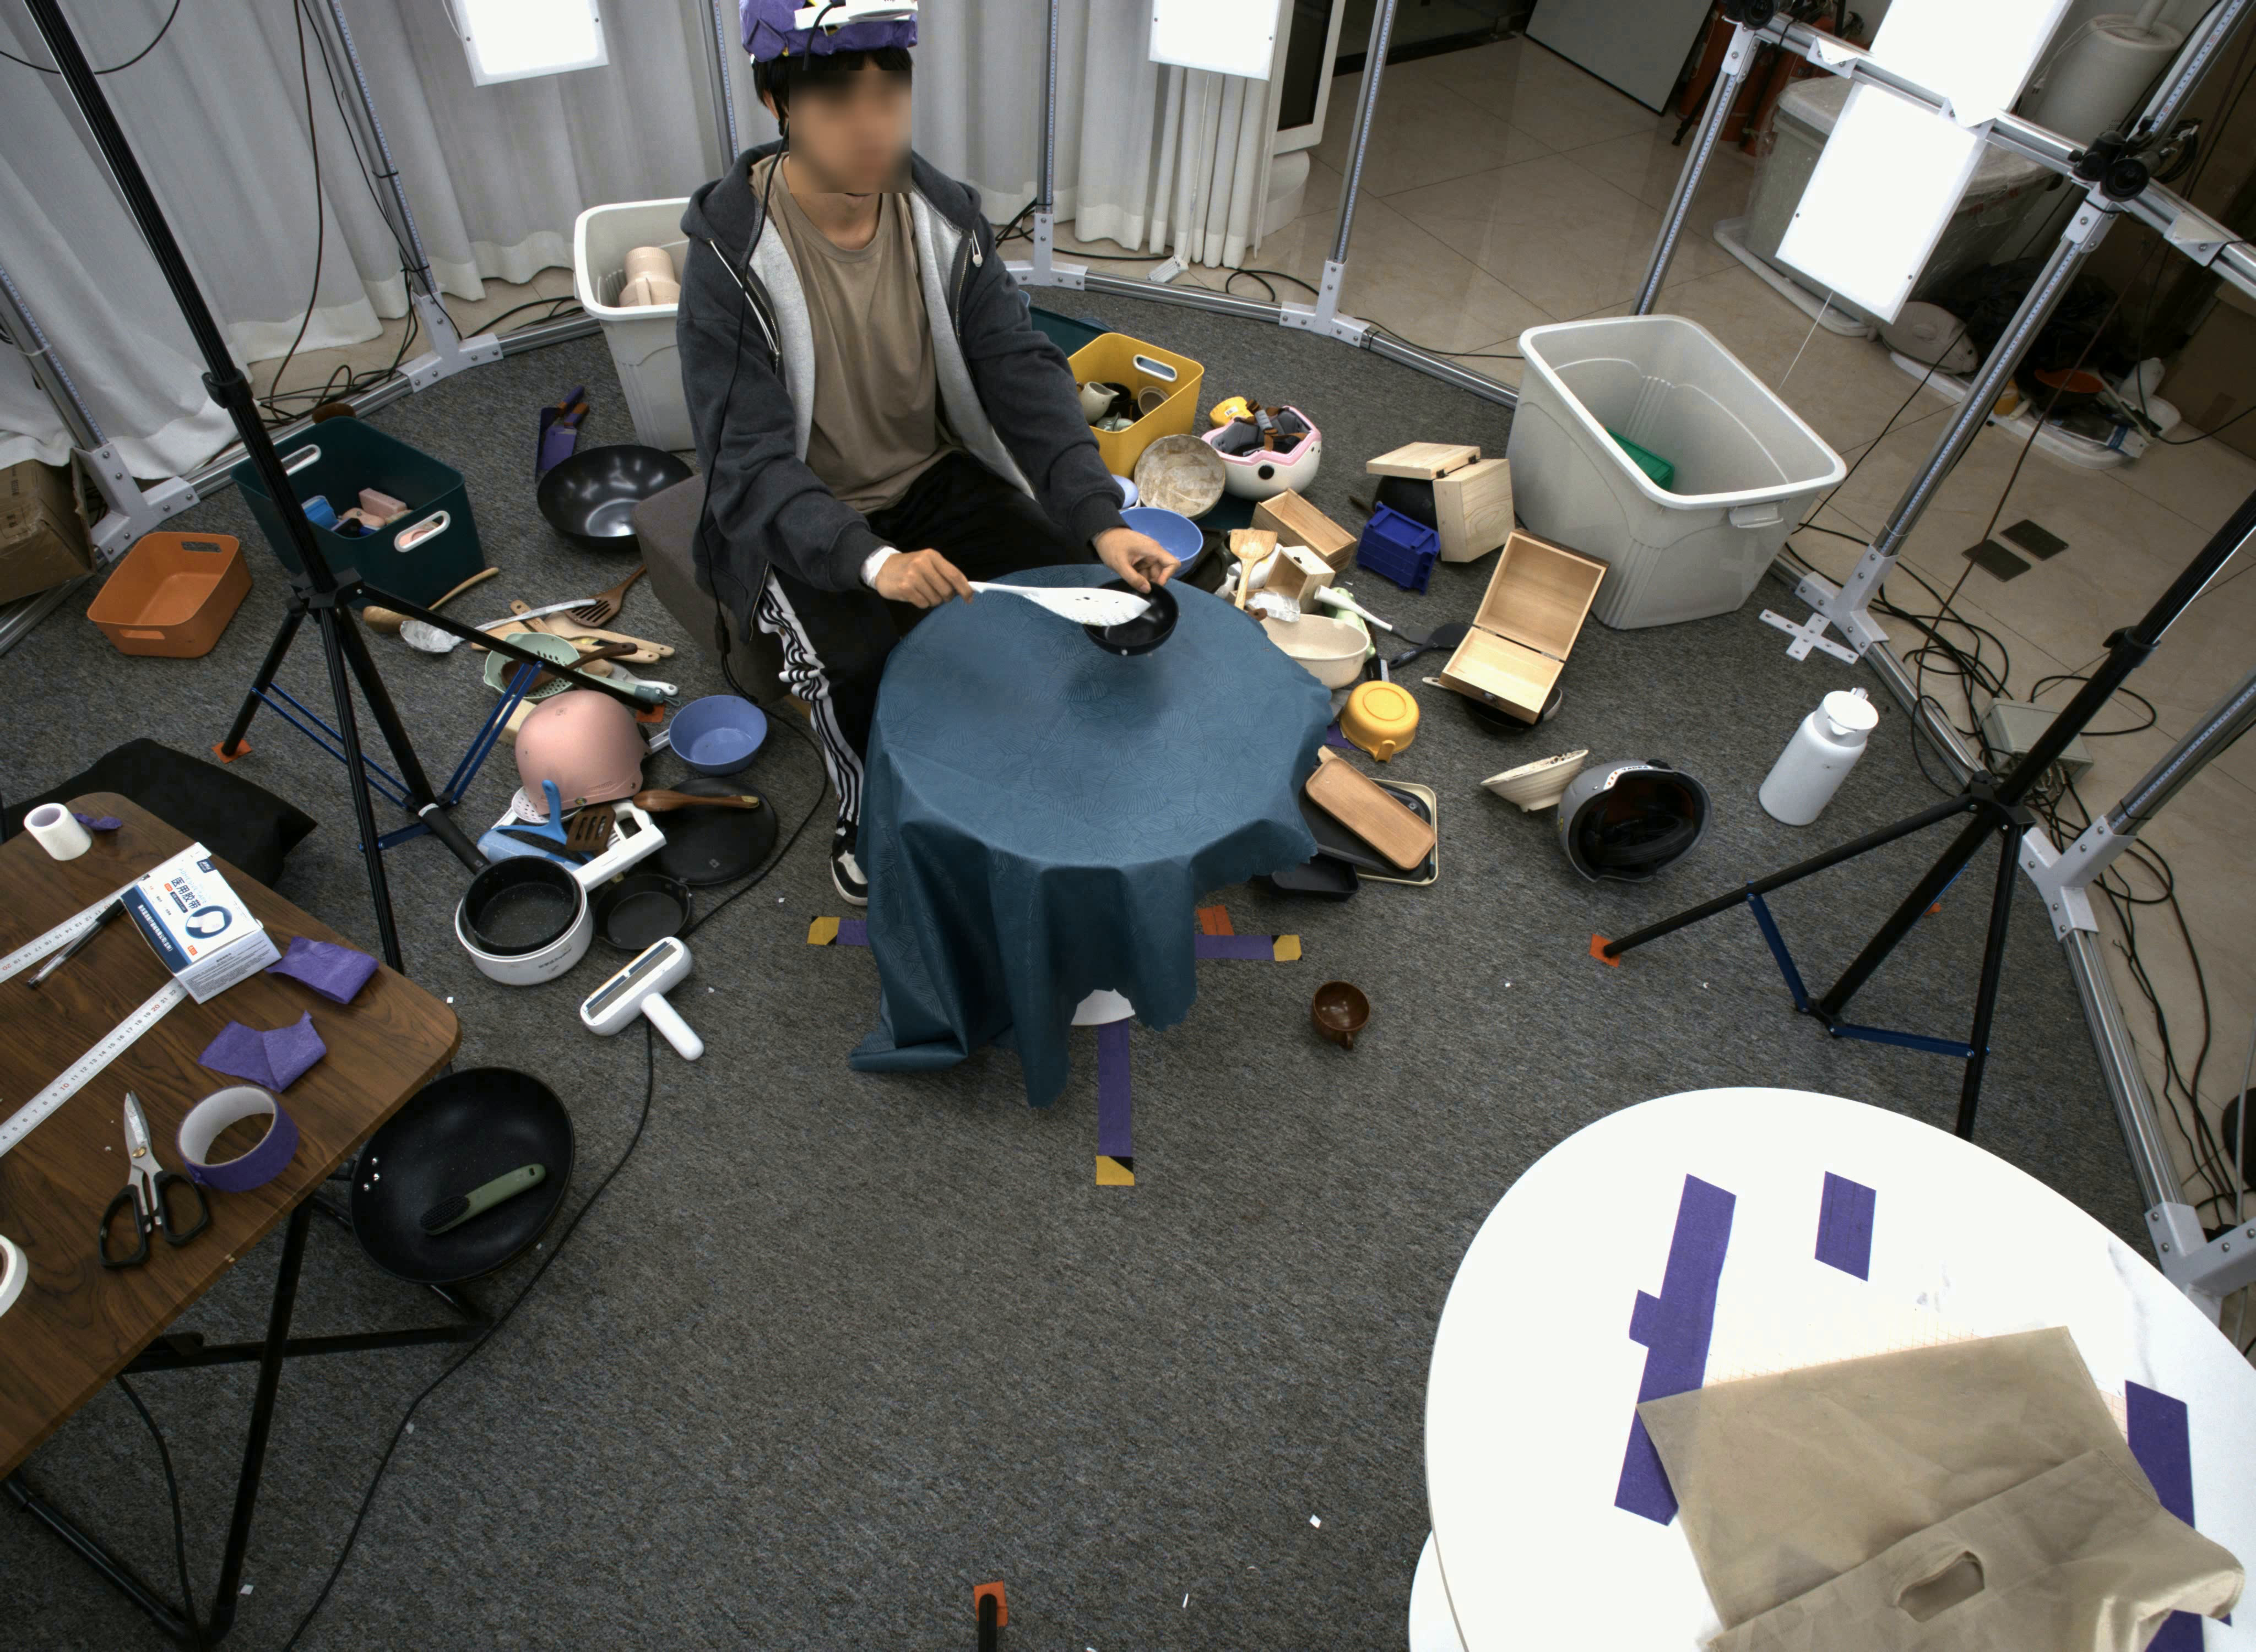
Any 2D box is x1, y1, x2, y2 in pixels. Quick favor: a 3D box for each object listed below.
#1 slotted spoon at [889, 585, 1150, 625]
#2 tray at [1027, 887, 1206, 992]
[{"bbox_3d":[-0.145,-0.297,1.681,0.349,0.050,0.137,10,6,14],"label":"slotted spoon"},{"bbox_3d":[-0.019,0.194,2.202,0.300,0.027,0.196,3,49,-3],"label":"tray"}]
